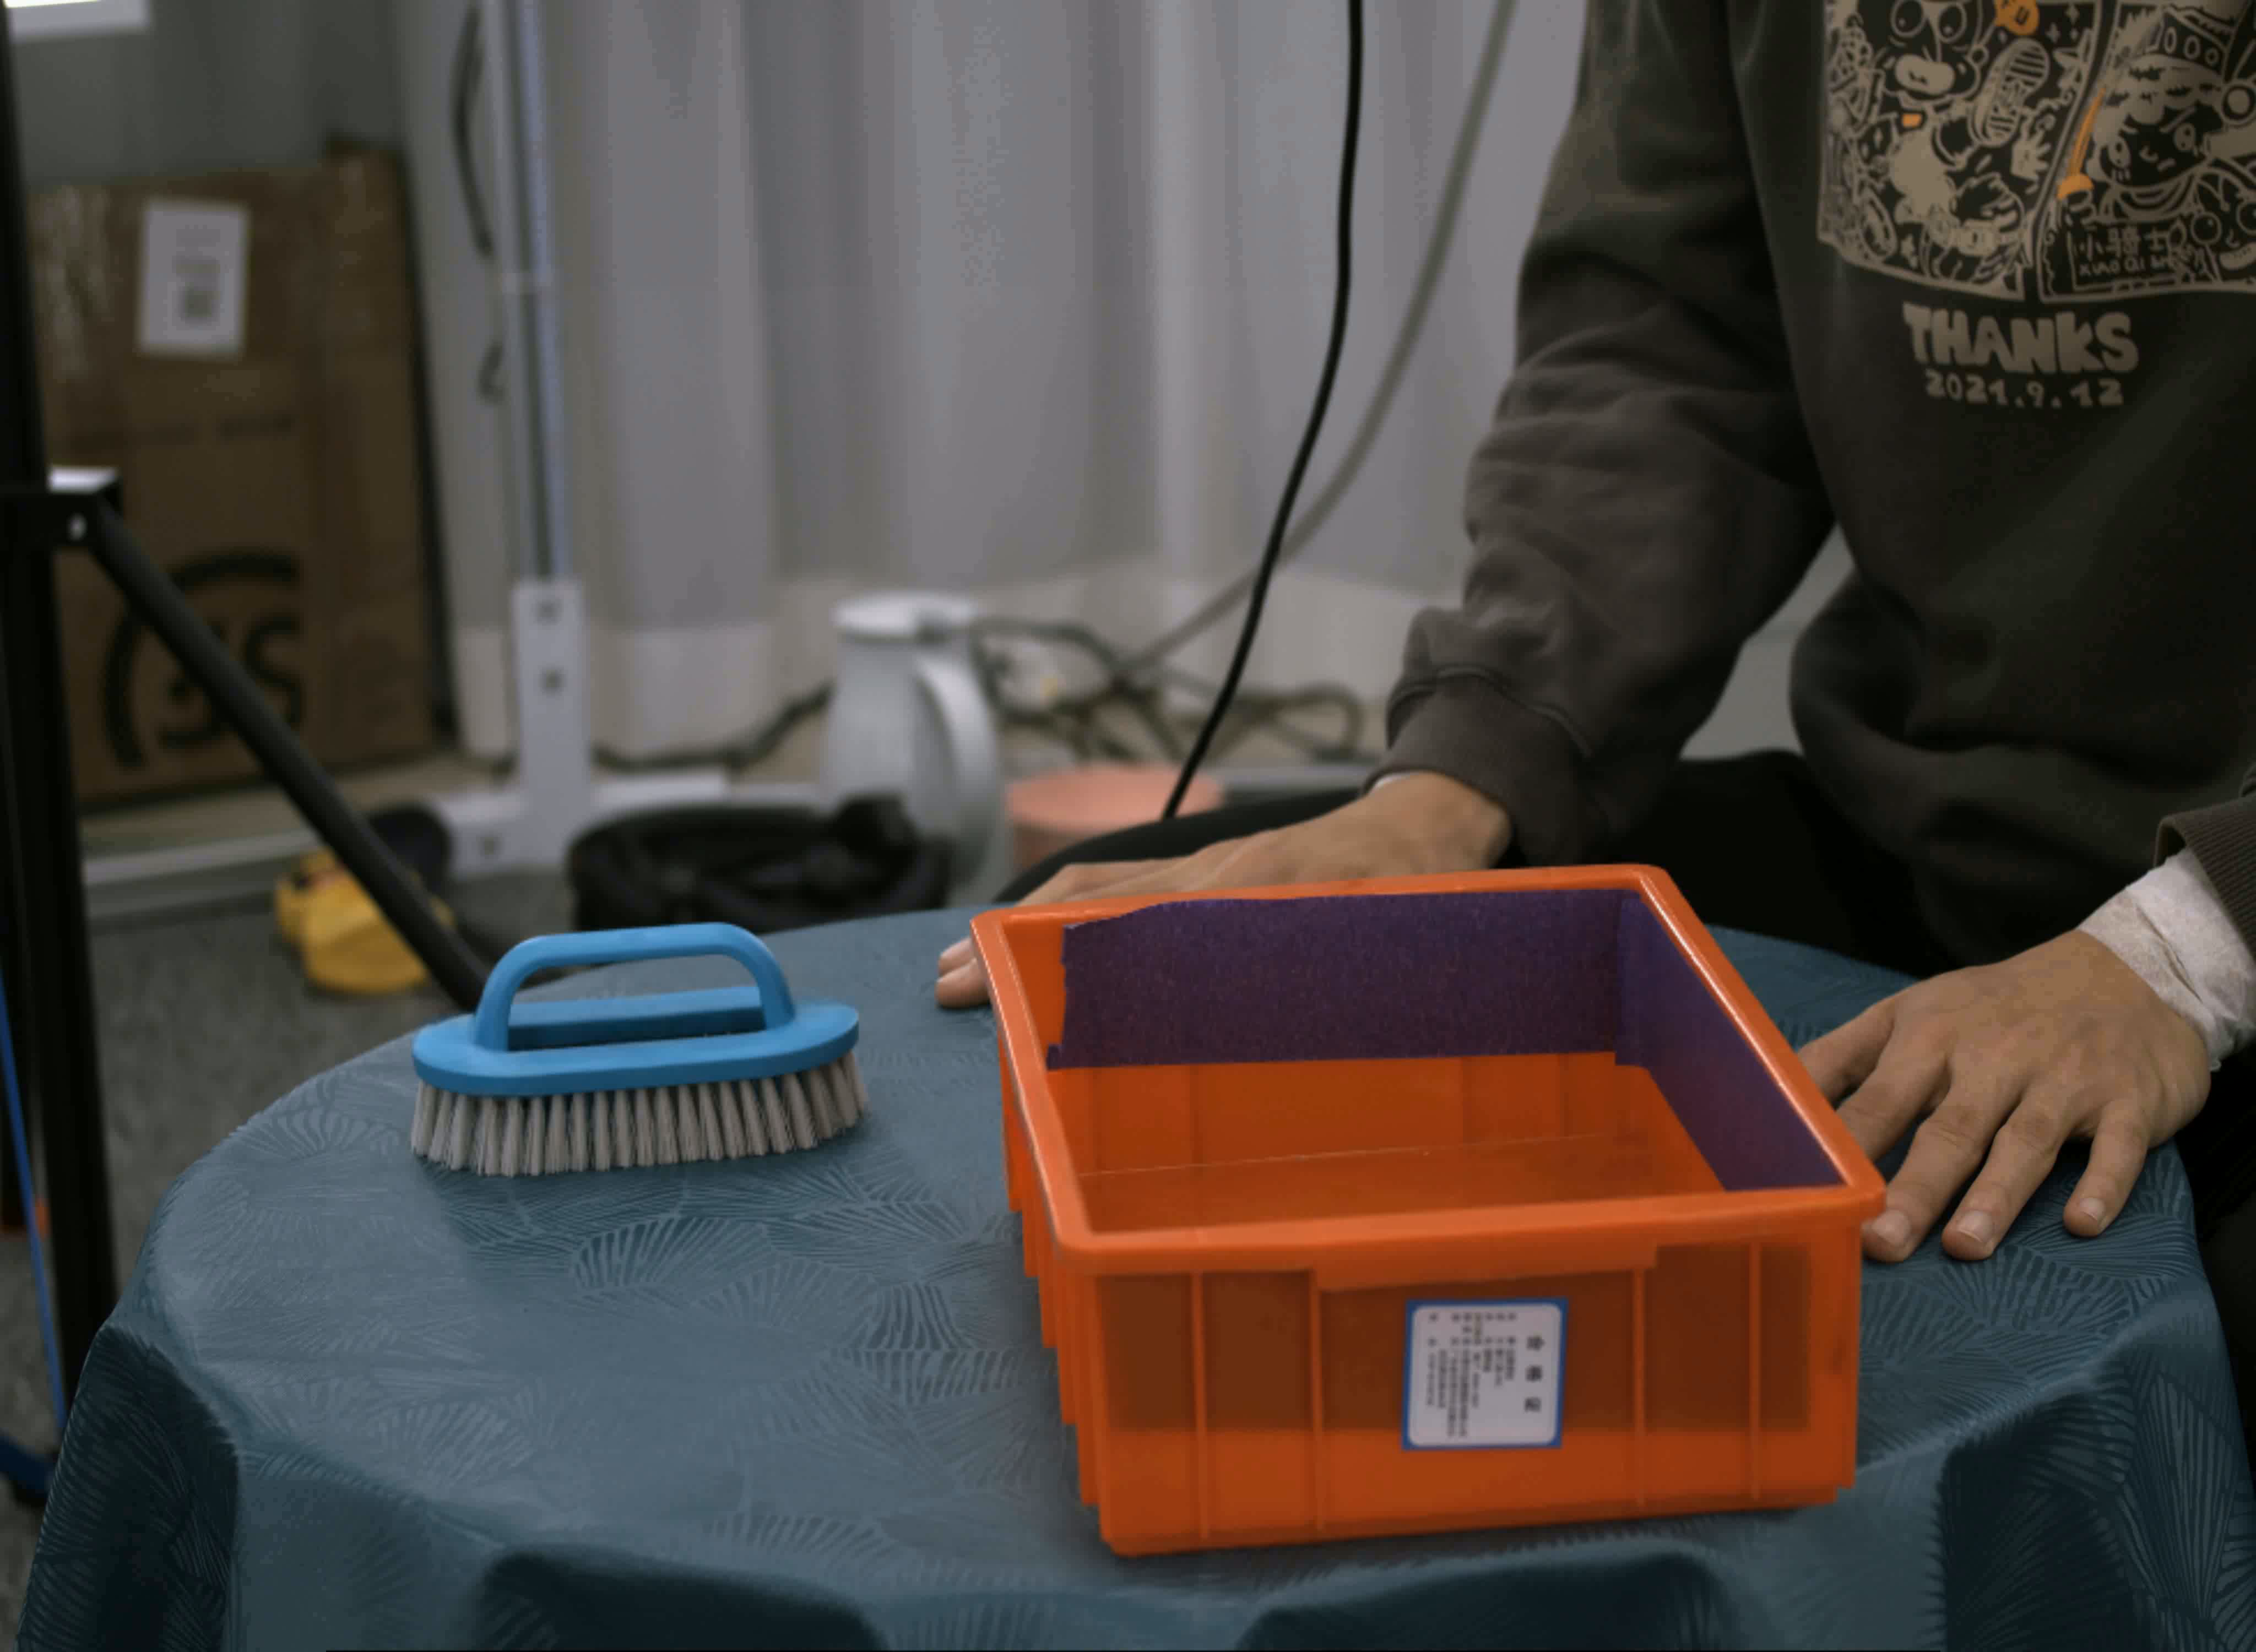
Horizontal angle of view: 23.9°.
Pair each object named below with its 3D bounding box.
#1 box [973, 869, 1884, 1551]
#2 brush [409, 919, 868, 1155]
[{"bbox_3d":[0.071,0.098,1.427,0.205,0.096,0.306,-4,16,-4],"label":"box"},{"bbox_3d":[-0.150,0.061,1.632,0.140,0.064,0.085,-2,11,-4],"label":"brush"}]
